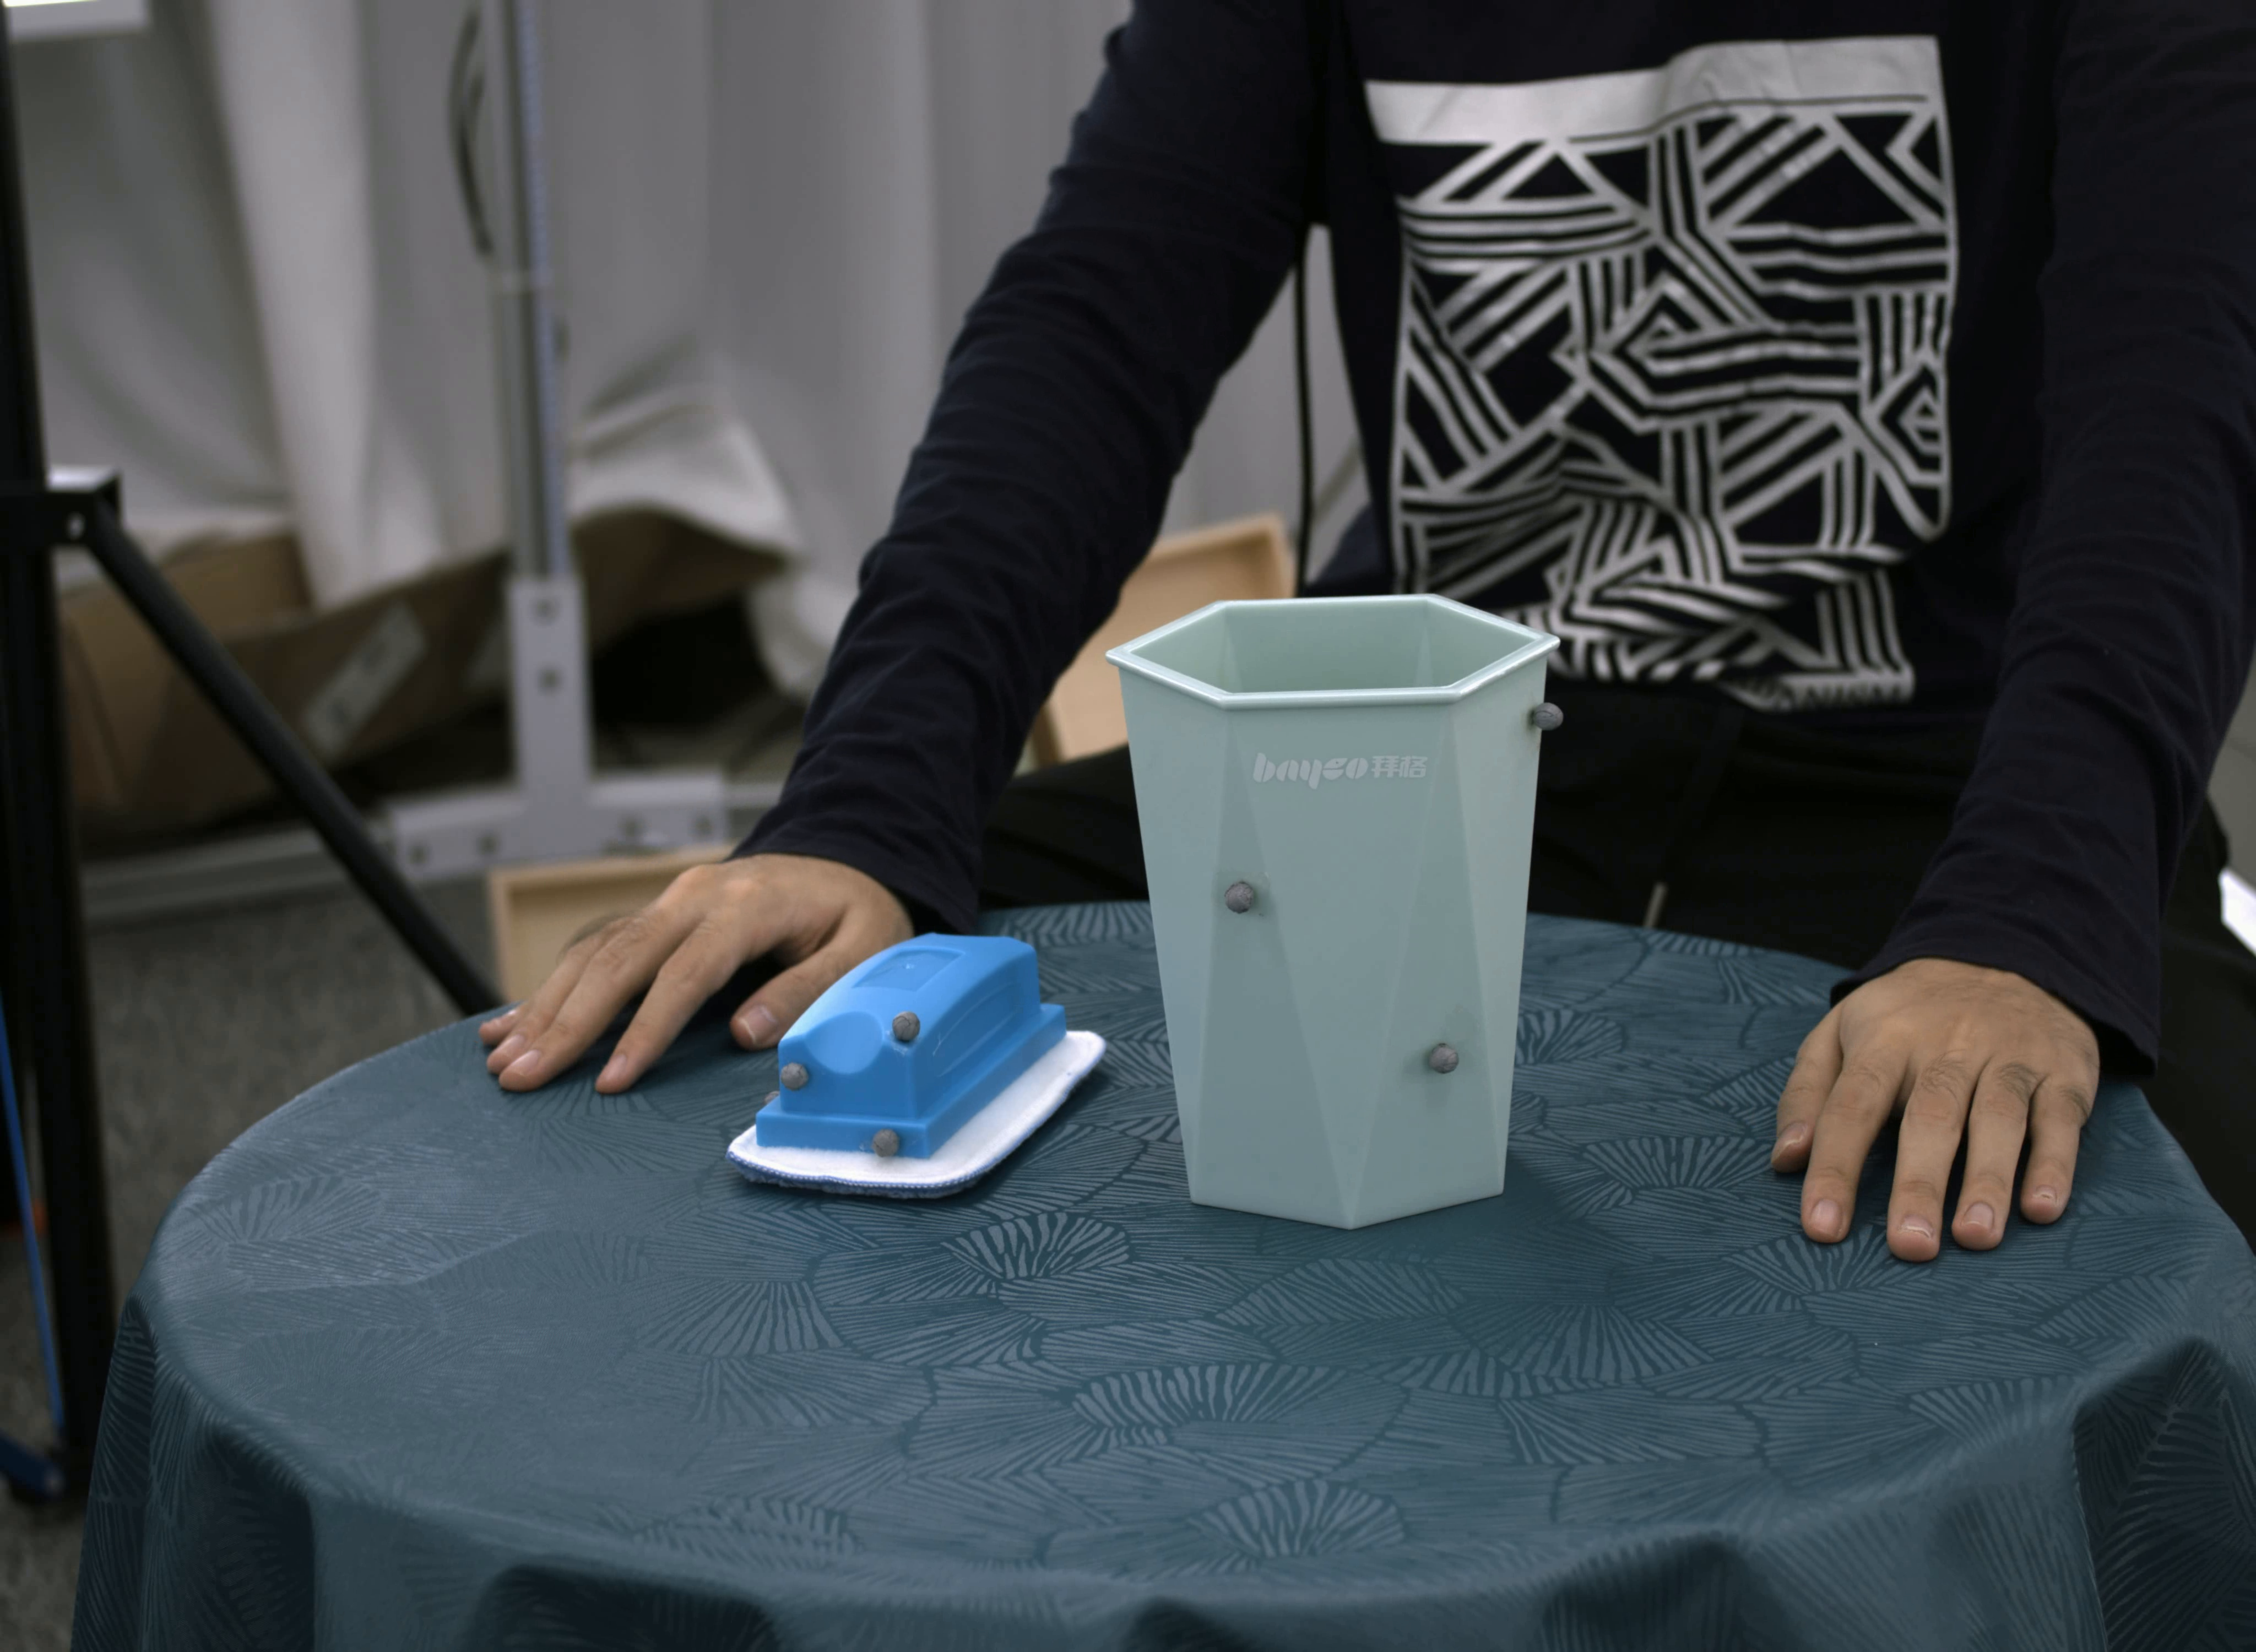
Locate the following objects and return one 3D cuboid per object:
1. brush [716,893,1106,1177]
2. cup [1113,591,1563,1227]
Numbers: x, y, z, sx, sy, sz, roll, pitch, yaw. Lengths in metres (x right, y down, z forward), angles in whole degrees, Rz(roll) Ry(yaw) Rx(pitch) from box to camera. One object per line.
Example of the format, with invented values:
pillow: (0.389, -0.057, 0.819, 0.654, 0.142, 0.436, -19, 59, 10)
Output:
brush: (-0.065, 0.060, 1.628, 0.085, 0.056, 0.142, 7, 21, 21)
cup: (0.062, 0.024, 1.550, 0.130, 0.163, 0.115, -1, 14, 1)
